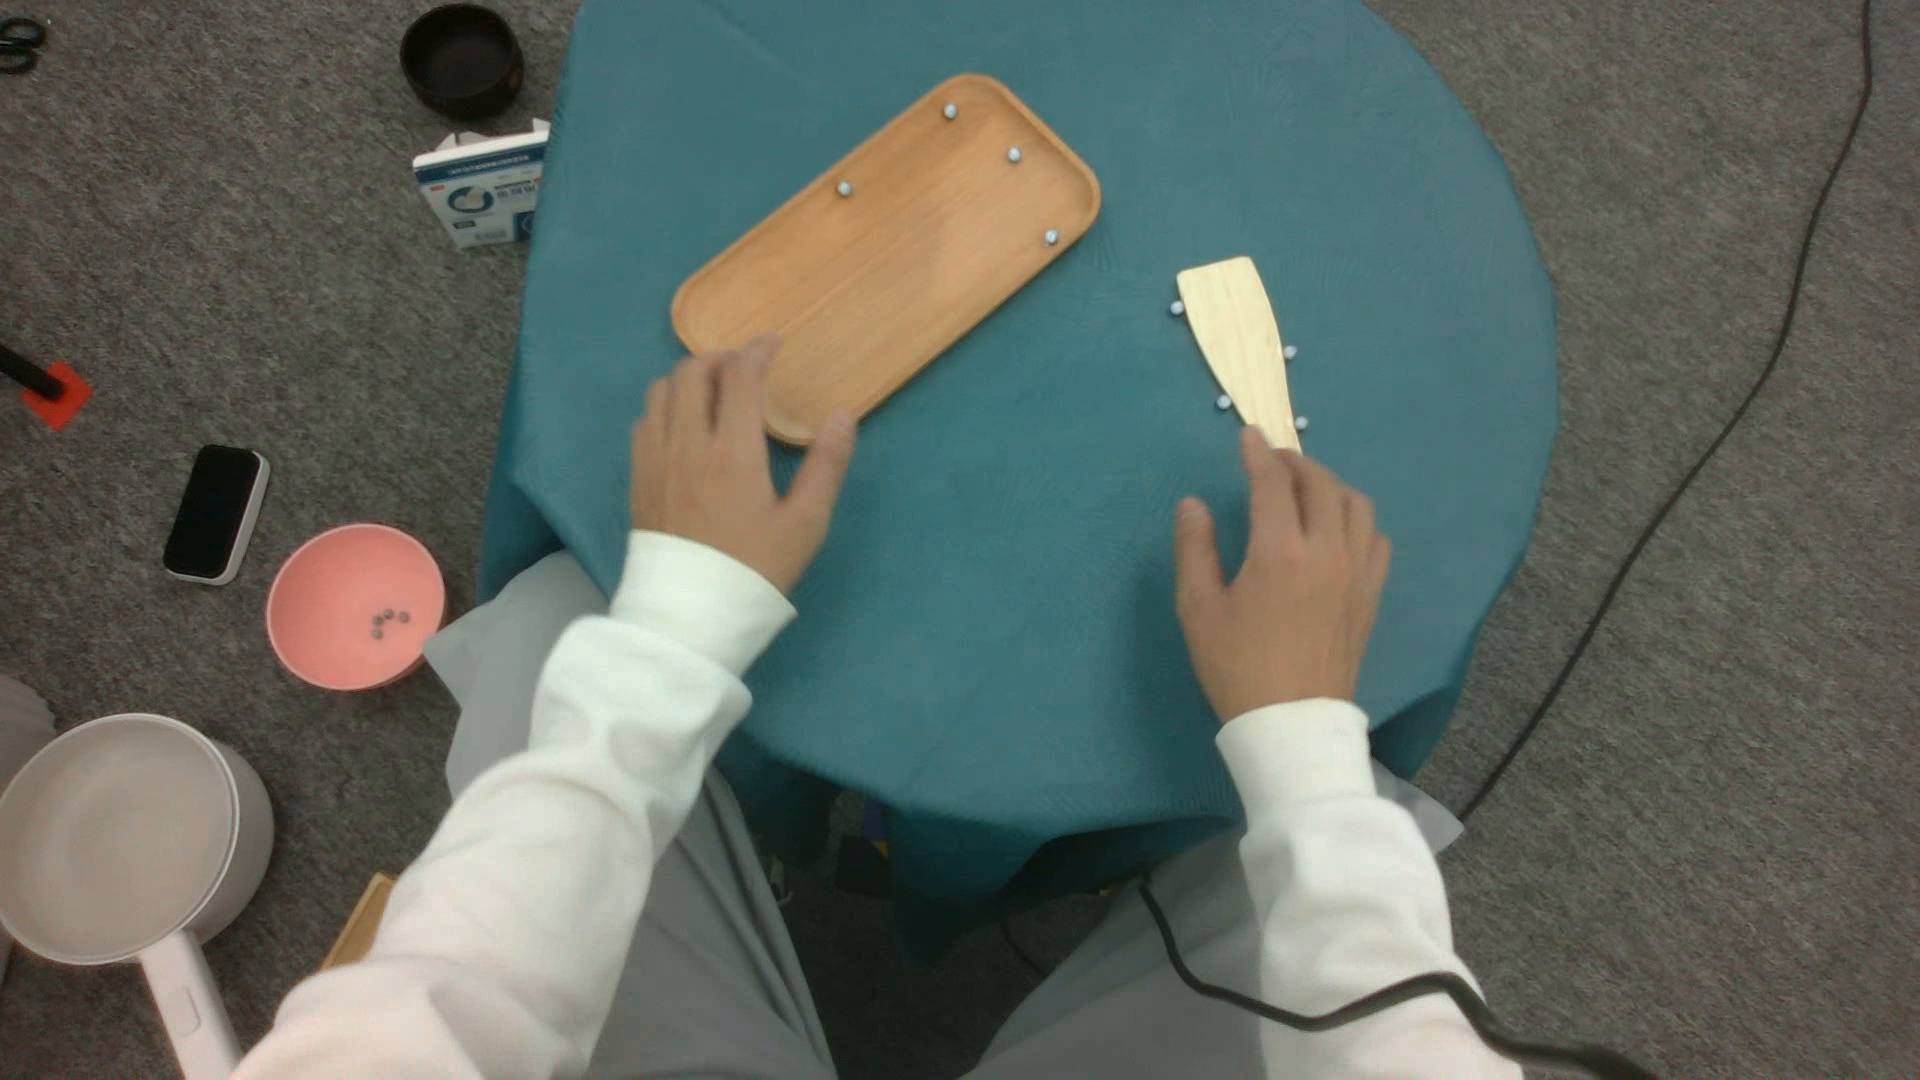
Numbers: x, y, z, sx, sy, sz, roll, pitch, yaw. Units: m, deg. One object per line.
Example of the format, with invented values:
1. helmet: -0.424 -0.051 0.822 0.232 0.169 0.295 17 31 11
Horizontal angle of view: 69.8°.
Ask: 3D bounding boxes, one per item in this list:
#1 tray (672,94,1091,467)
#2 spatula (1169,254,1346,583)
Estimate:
1. tray: -0.043 -0.156 0.809 0.251 0.023 0.130 -43 76 -13
2. spatula: 0.175 -0.072 0.794 0.050 0.005 0.208 -16 73 -6
